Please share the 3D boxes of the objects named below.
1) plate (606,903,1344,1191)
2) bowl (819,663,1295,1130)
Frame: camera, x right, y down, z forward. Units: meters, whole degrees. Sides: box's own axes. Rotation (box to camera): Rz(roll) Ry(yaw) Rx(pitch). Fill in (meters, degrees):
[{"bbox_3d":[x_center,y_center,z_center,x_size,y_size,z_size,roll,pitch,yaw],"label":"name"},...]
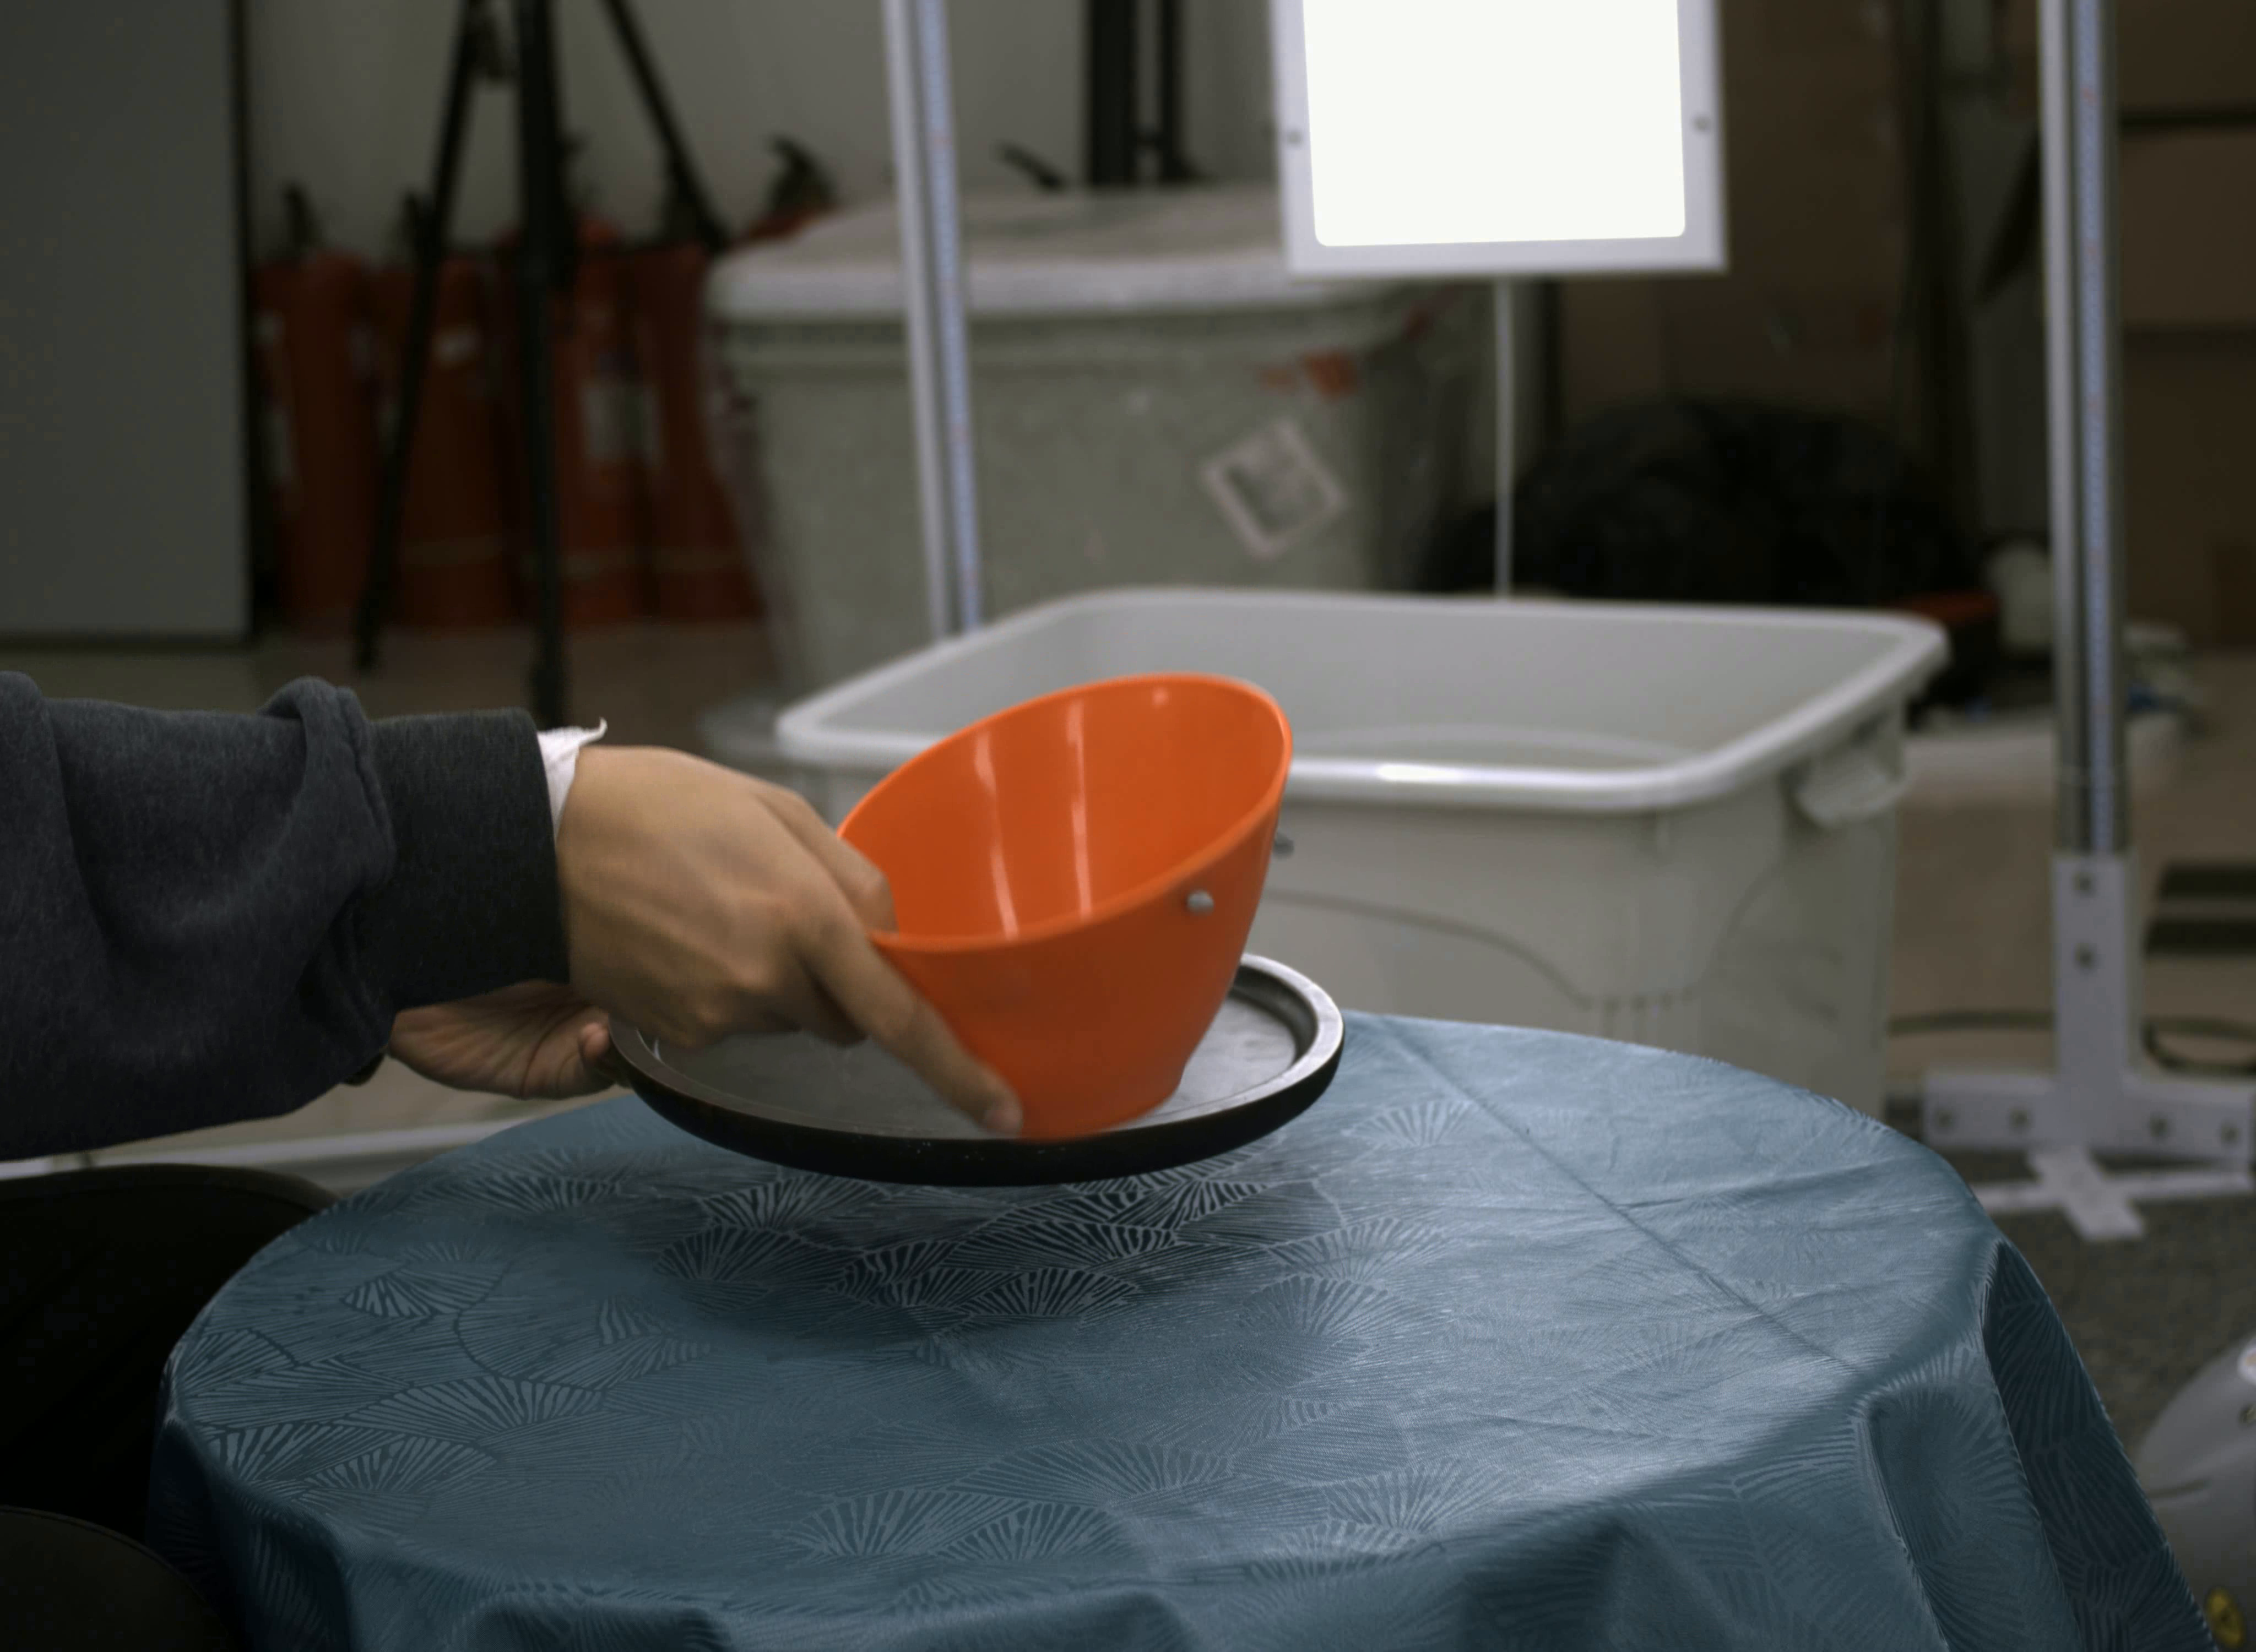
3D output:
[{"bbox_3d":[-0.052,0.075,1.885,0.254,0.029,0.254,0,17,-1],"label":"plate"},{"bbox_3d":[-0.014,0.027,1.648,0.148,0.105,0.147,-10,23,3],"label":"bowl"}]
